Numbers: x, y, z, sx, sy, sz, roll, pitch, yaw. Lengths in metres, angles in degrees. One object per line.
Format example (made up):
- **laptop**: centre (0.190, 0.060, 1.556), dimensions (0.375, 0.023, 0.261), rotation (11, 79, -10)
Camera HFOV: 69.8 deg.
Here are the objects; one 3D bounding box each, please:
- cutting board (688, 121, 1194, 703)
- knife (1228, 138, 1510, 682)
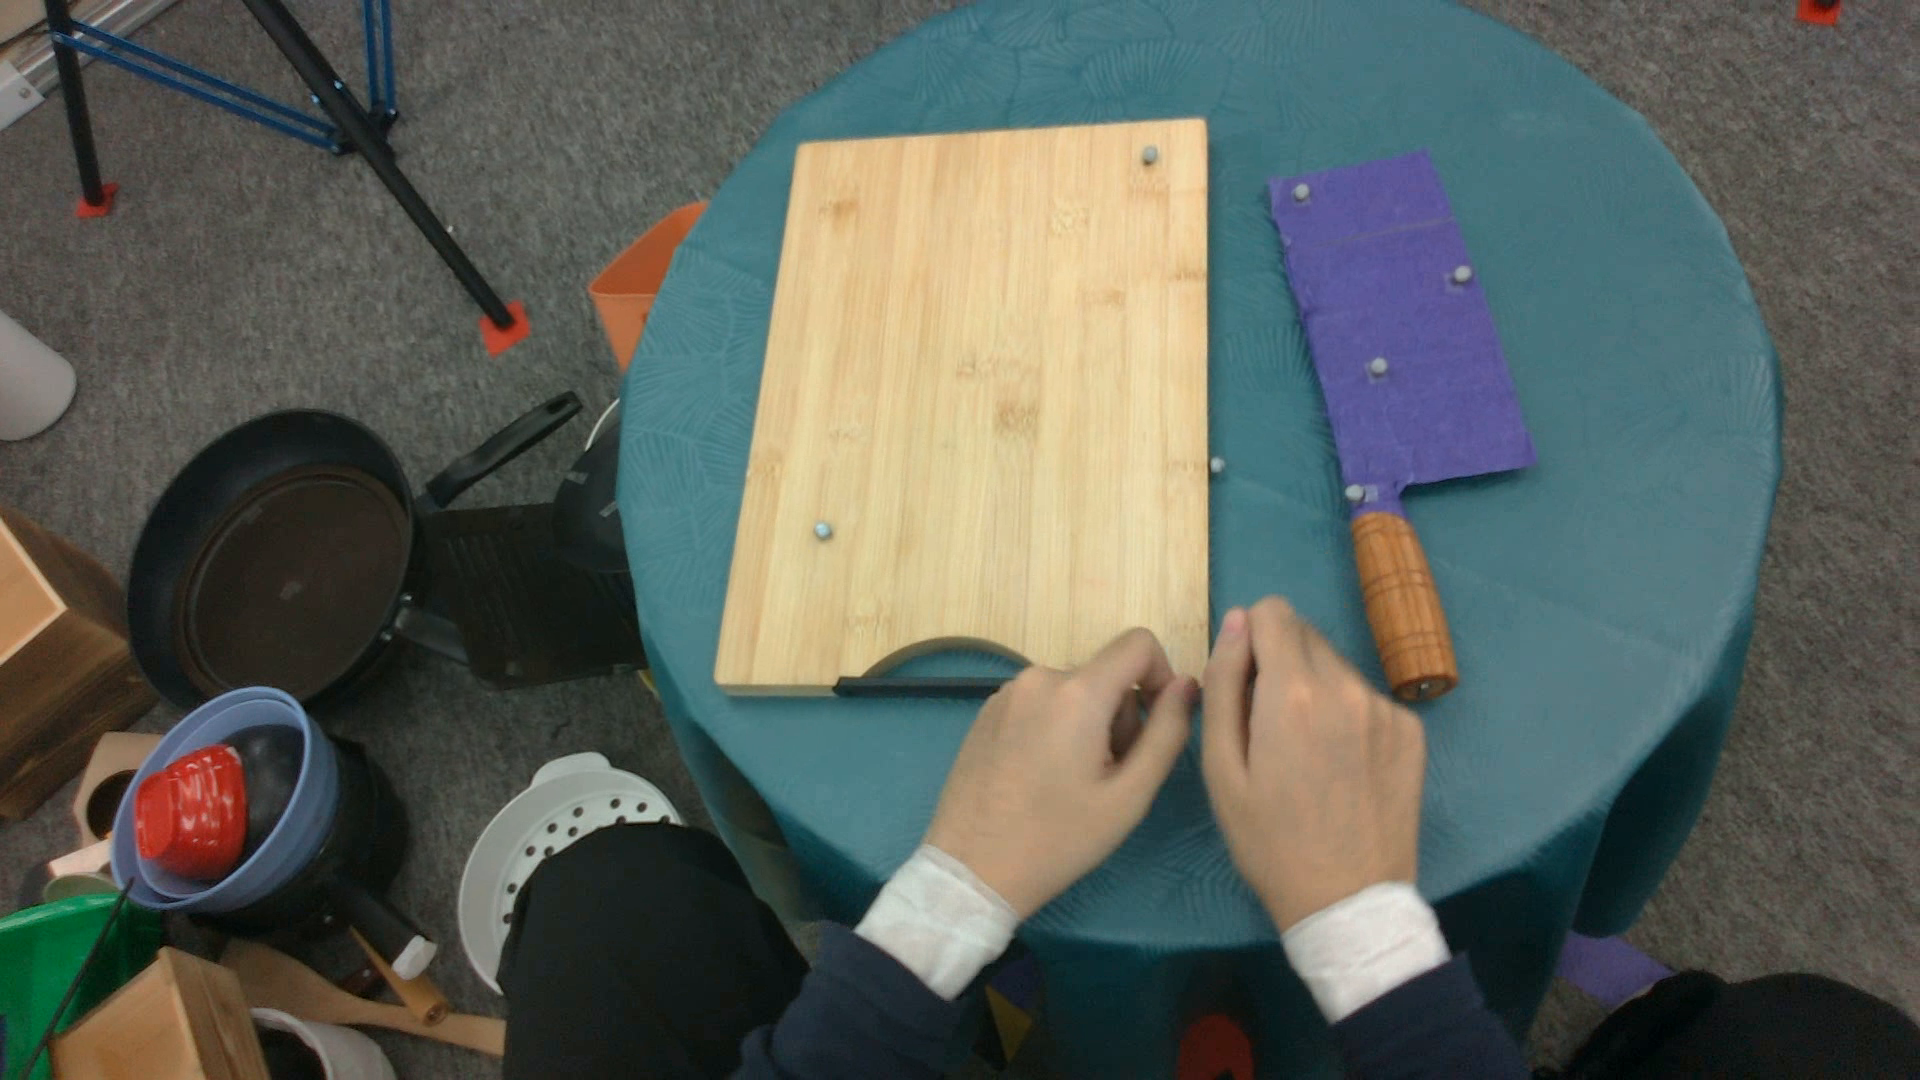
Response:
- **cutting board**: centre (0.001, -0.082, 0.731), dimensions (0.250, 0.023, 0.350), rotation (-1, 64, 9)
- **knife**: centre (0.218, -0.084, 0.690), dimensions (0.104, 0.032, 0.316), rotation (-10, 62, 5)
